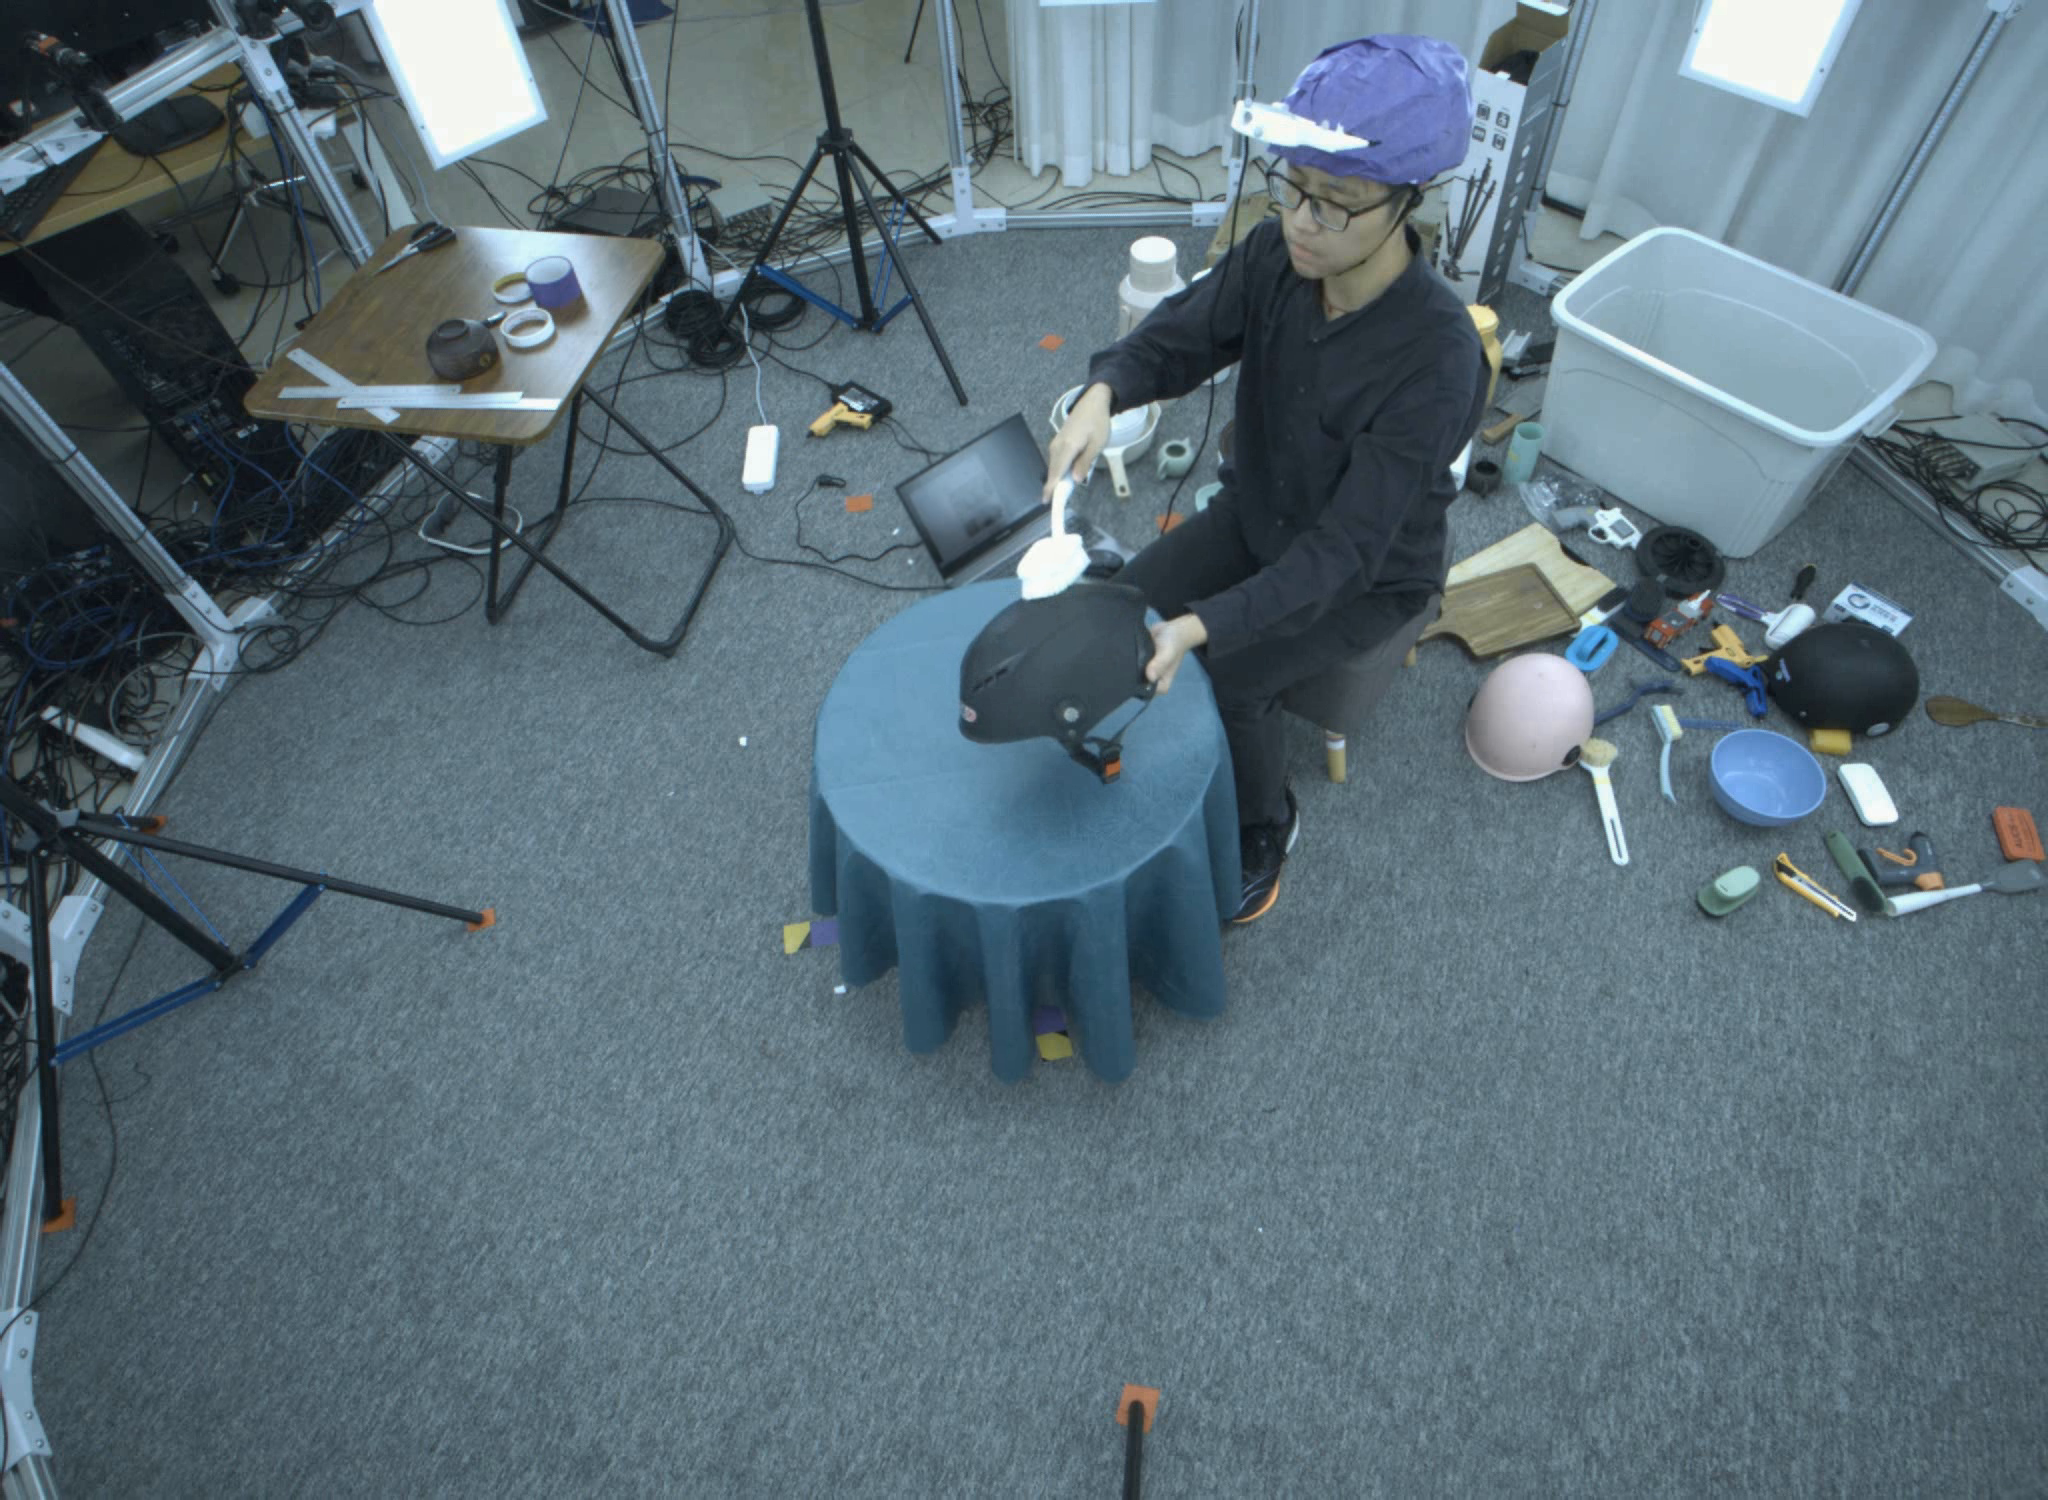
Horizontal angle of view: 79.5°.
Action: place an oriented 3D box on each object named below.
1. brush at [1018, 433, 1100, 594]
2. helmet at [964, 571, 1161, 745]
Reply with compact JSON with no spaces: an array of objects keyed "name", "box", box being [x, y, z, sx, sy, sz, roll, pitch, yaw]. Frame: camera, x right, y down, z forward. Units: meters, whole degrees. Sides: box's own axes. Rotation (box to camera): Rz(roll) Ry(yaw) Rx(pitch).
[{"name":"brush","box":[0.065,-0.309,1.647,0.083,0.084,0.324,23,50,-2]},{"name":"helmet","box":[0.039,-0.127,1.586,0.278,0.174,0.242,-23,25,-12]}]
